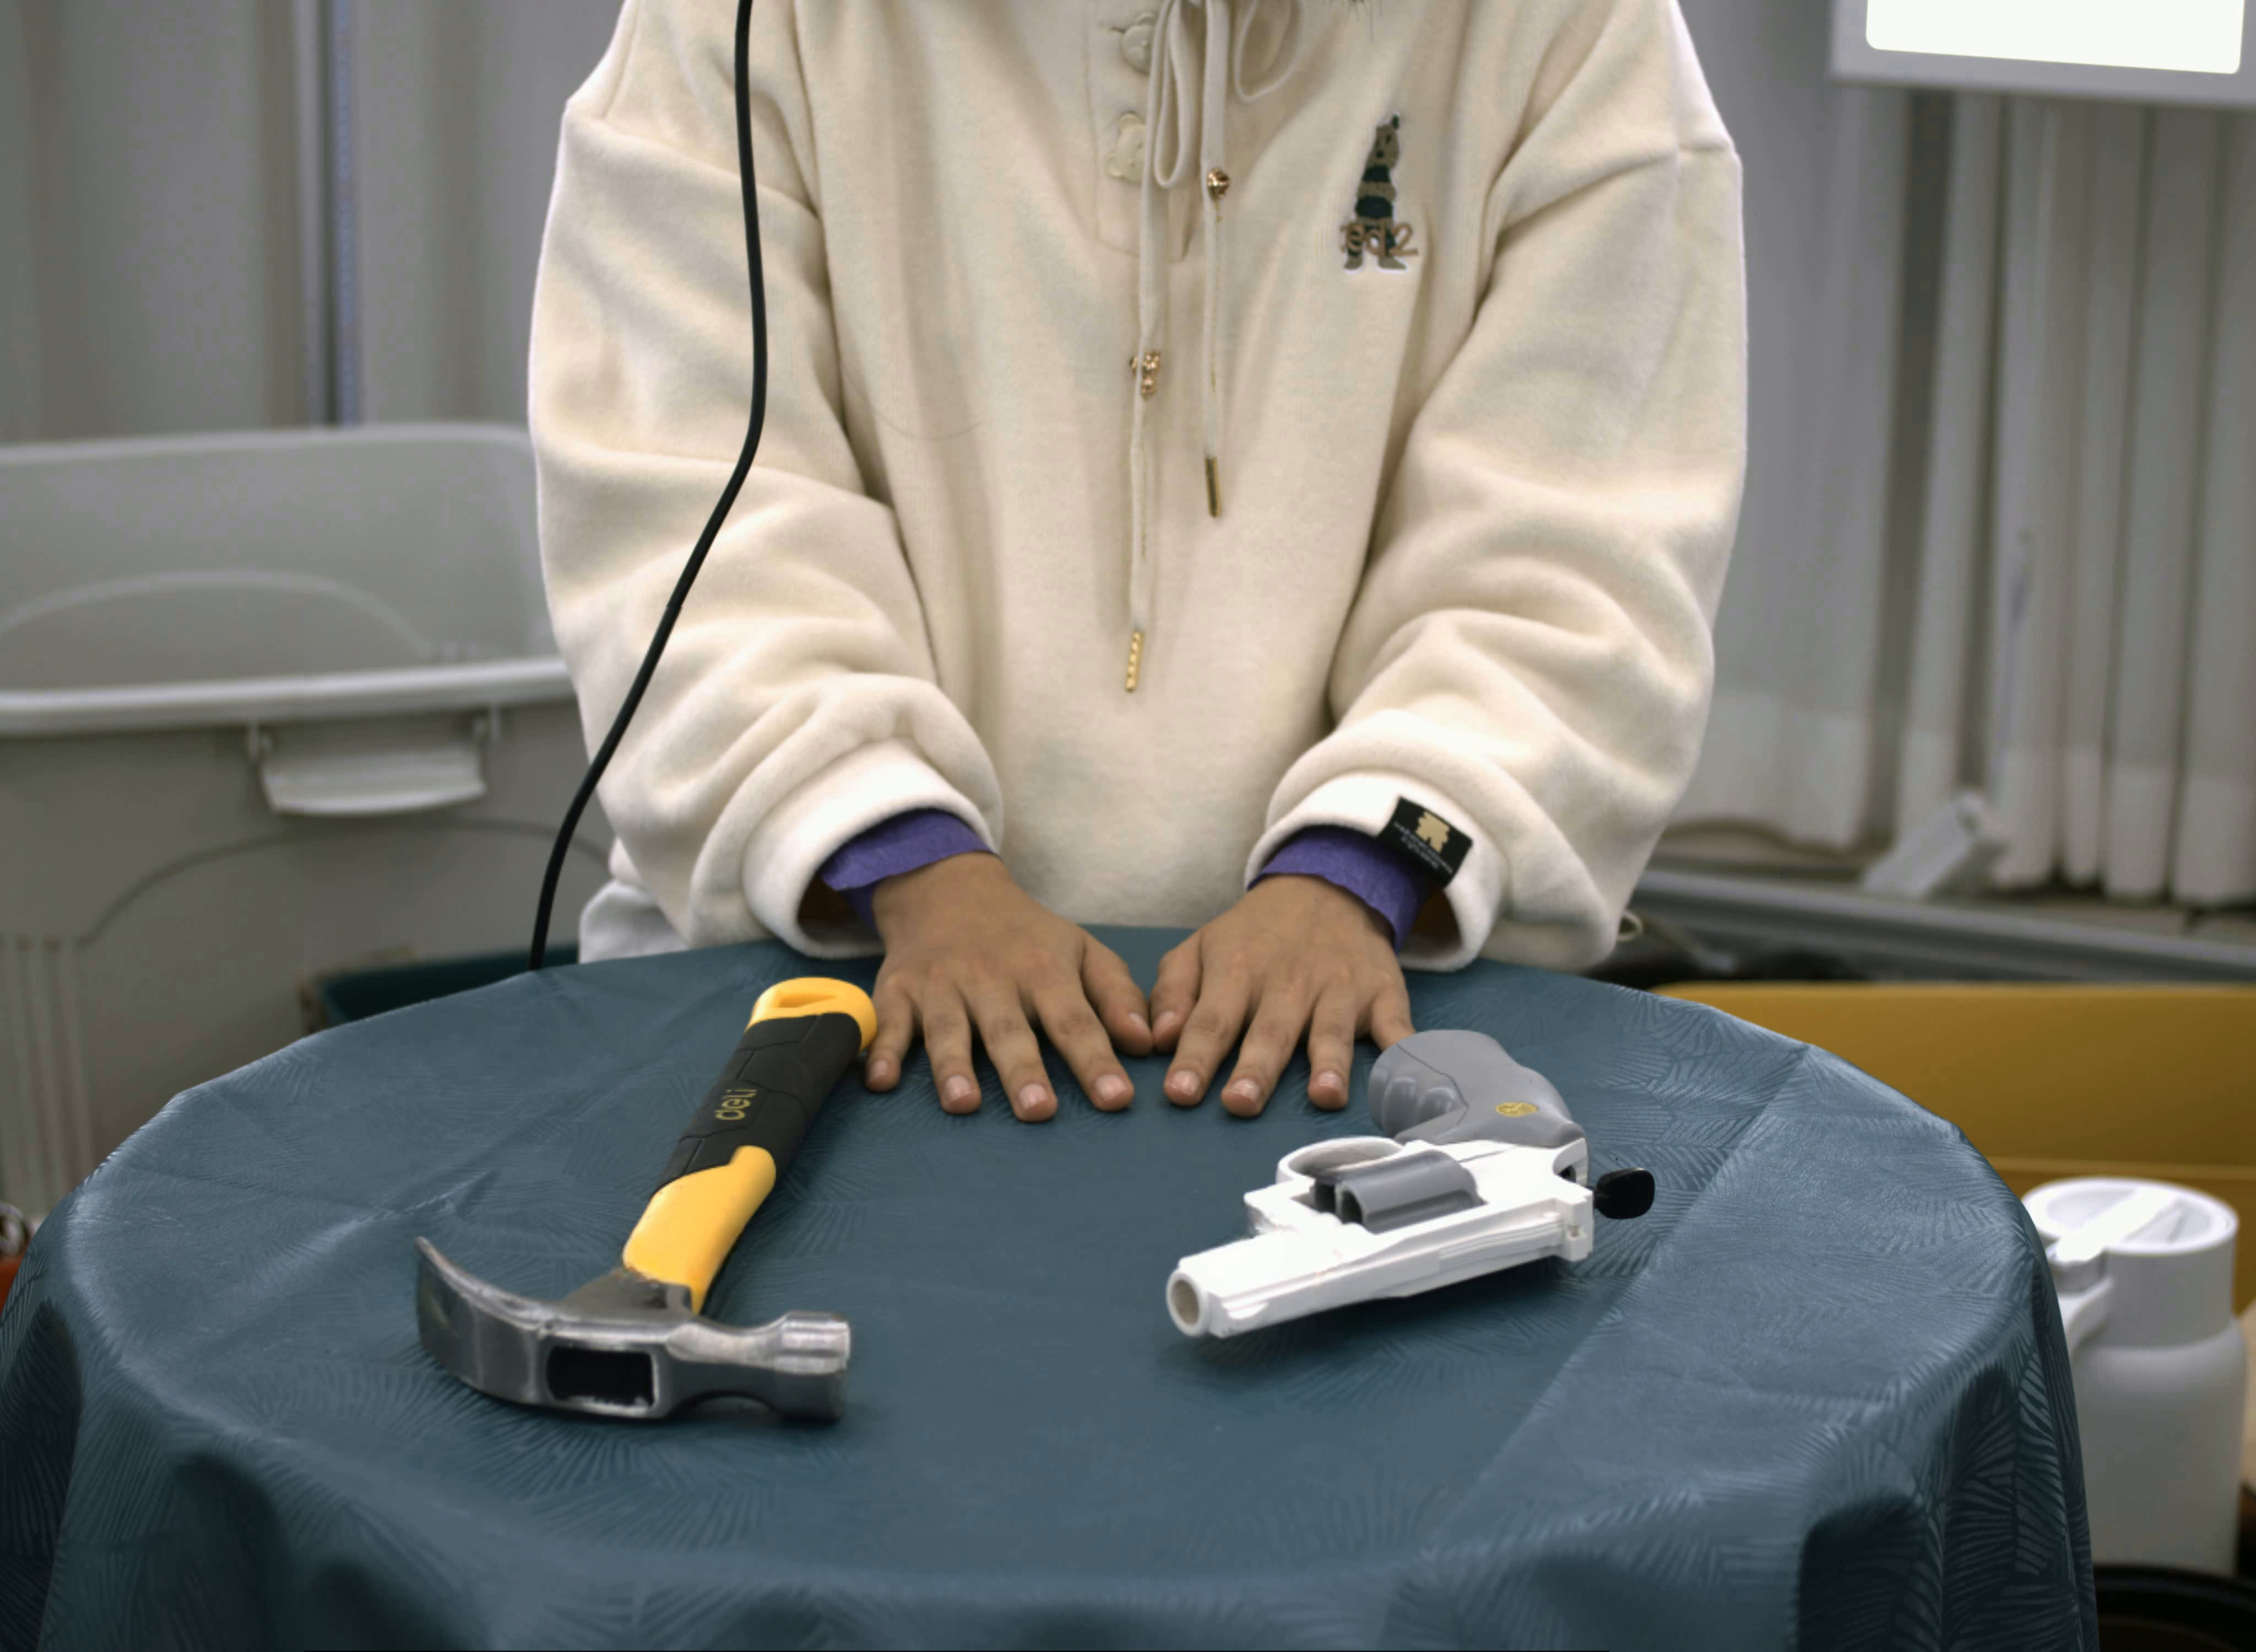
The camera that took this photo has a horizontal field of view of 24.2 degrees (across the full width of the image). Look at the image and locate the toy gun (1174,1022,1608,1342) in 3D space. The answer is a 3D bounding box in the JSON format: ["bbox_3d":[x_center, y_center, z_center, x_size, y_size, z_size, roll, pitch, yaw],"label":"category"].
[{"bbox_3d":[0.071,0.106,1.571,0.210,0.039,0.140,-12,21,-37],"label":"toy gun"}]

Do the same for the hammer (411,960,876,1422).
[{"bbox_3d":[-0.123,0.102,1.586,0.130,0.032,0.337,0,16,7],"label":"hammer"}]
